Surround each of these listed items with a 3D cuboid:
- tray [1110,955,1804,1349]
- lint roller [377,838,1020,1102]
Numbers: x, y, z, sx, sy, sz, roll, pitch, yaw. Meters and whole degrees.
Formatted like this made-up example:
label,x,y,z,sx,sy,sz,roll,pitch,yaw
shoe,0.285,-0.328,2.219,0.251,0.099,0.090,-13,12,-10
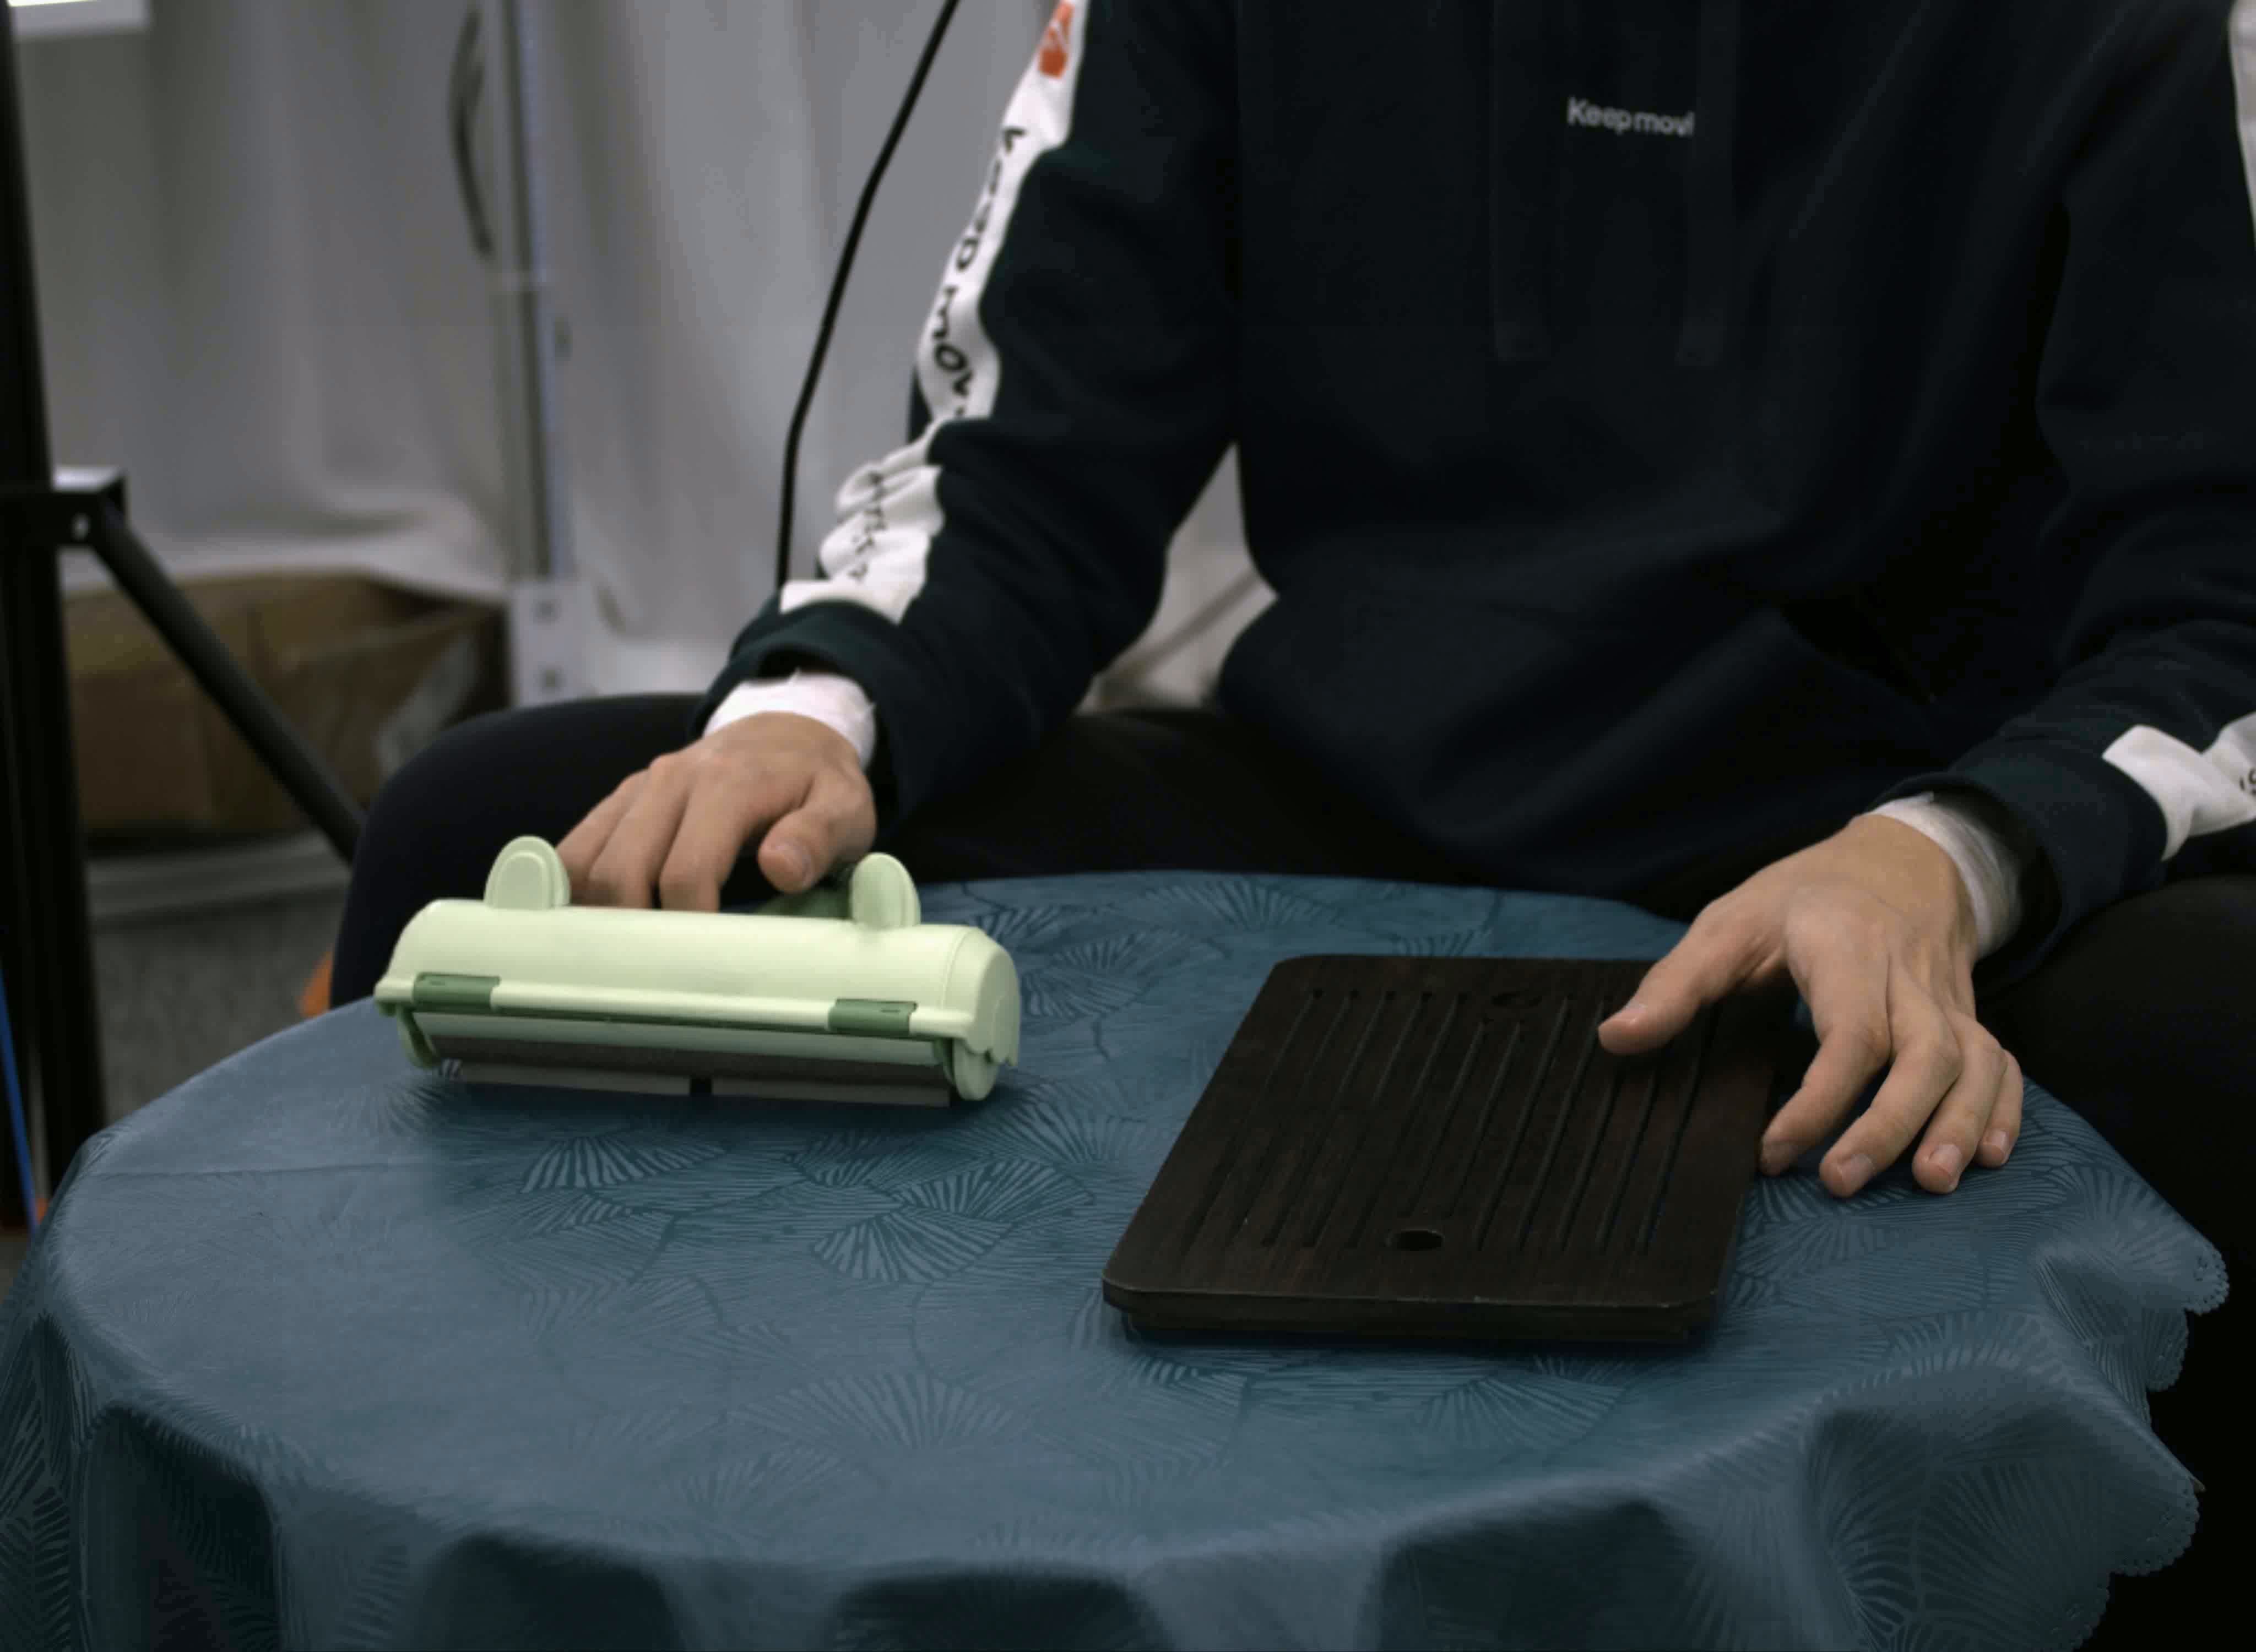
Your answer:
label,x,y,z,sx,sy,sz,roll,pitch,yaw
tray,0.105,0.093,1.559,0.171,0.018,0.304,0,16,12
lint roller,-0.118,0.030,1.708,0.200,0.082,0.182,2,20,18
